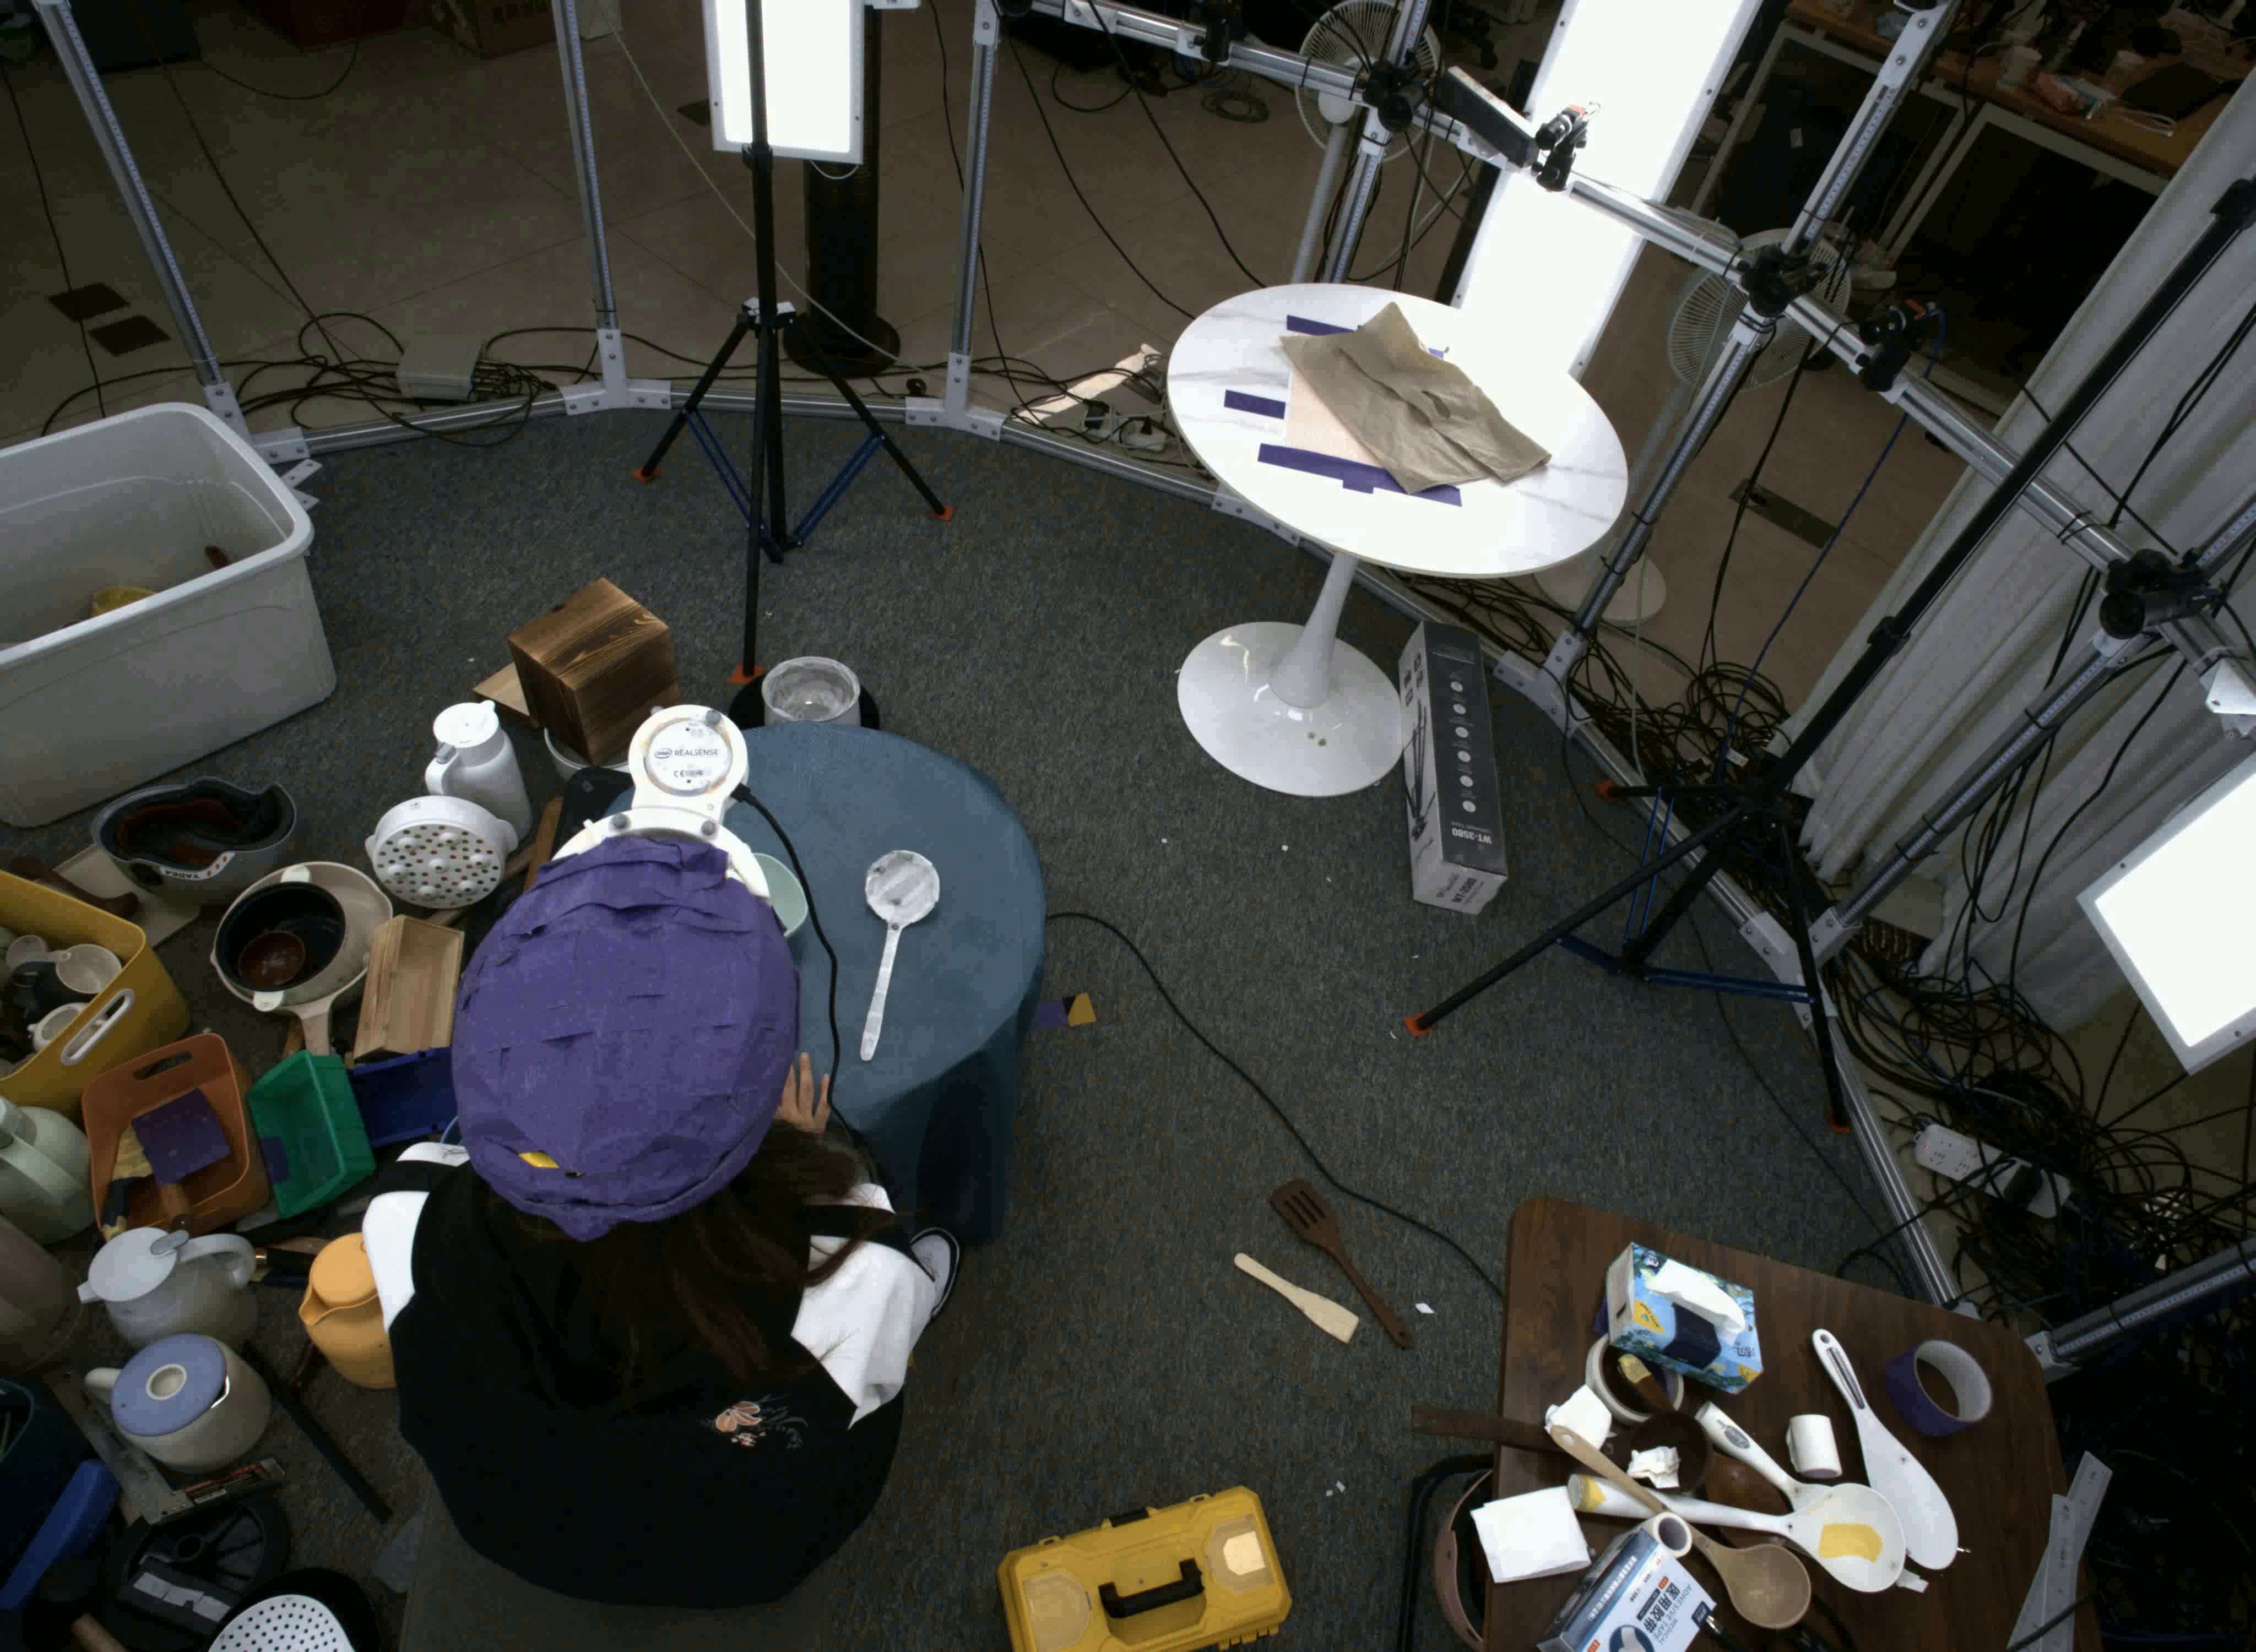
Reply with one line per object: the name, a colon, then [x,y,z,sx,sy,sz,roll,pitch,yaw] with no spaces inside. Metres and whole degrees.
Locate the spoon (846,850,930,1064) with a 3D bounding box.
spoon: [-0.313,0.153,1.596,0.100,0.061,0.273,10,52,-1]

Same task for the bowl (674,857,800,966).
bowl: [-0.478,0.113,1.586,0.151,0.060,0.149,8,52,-8]
